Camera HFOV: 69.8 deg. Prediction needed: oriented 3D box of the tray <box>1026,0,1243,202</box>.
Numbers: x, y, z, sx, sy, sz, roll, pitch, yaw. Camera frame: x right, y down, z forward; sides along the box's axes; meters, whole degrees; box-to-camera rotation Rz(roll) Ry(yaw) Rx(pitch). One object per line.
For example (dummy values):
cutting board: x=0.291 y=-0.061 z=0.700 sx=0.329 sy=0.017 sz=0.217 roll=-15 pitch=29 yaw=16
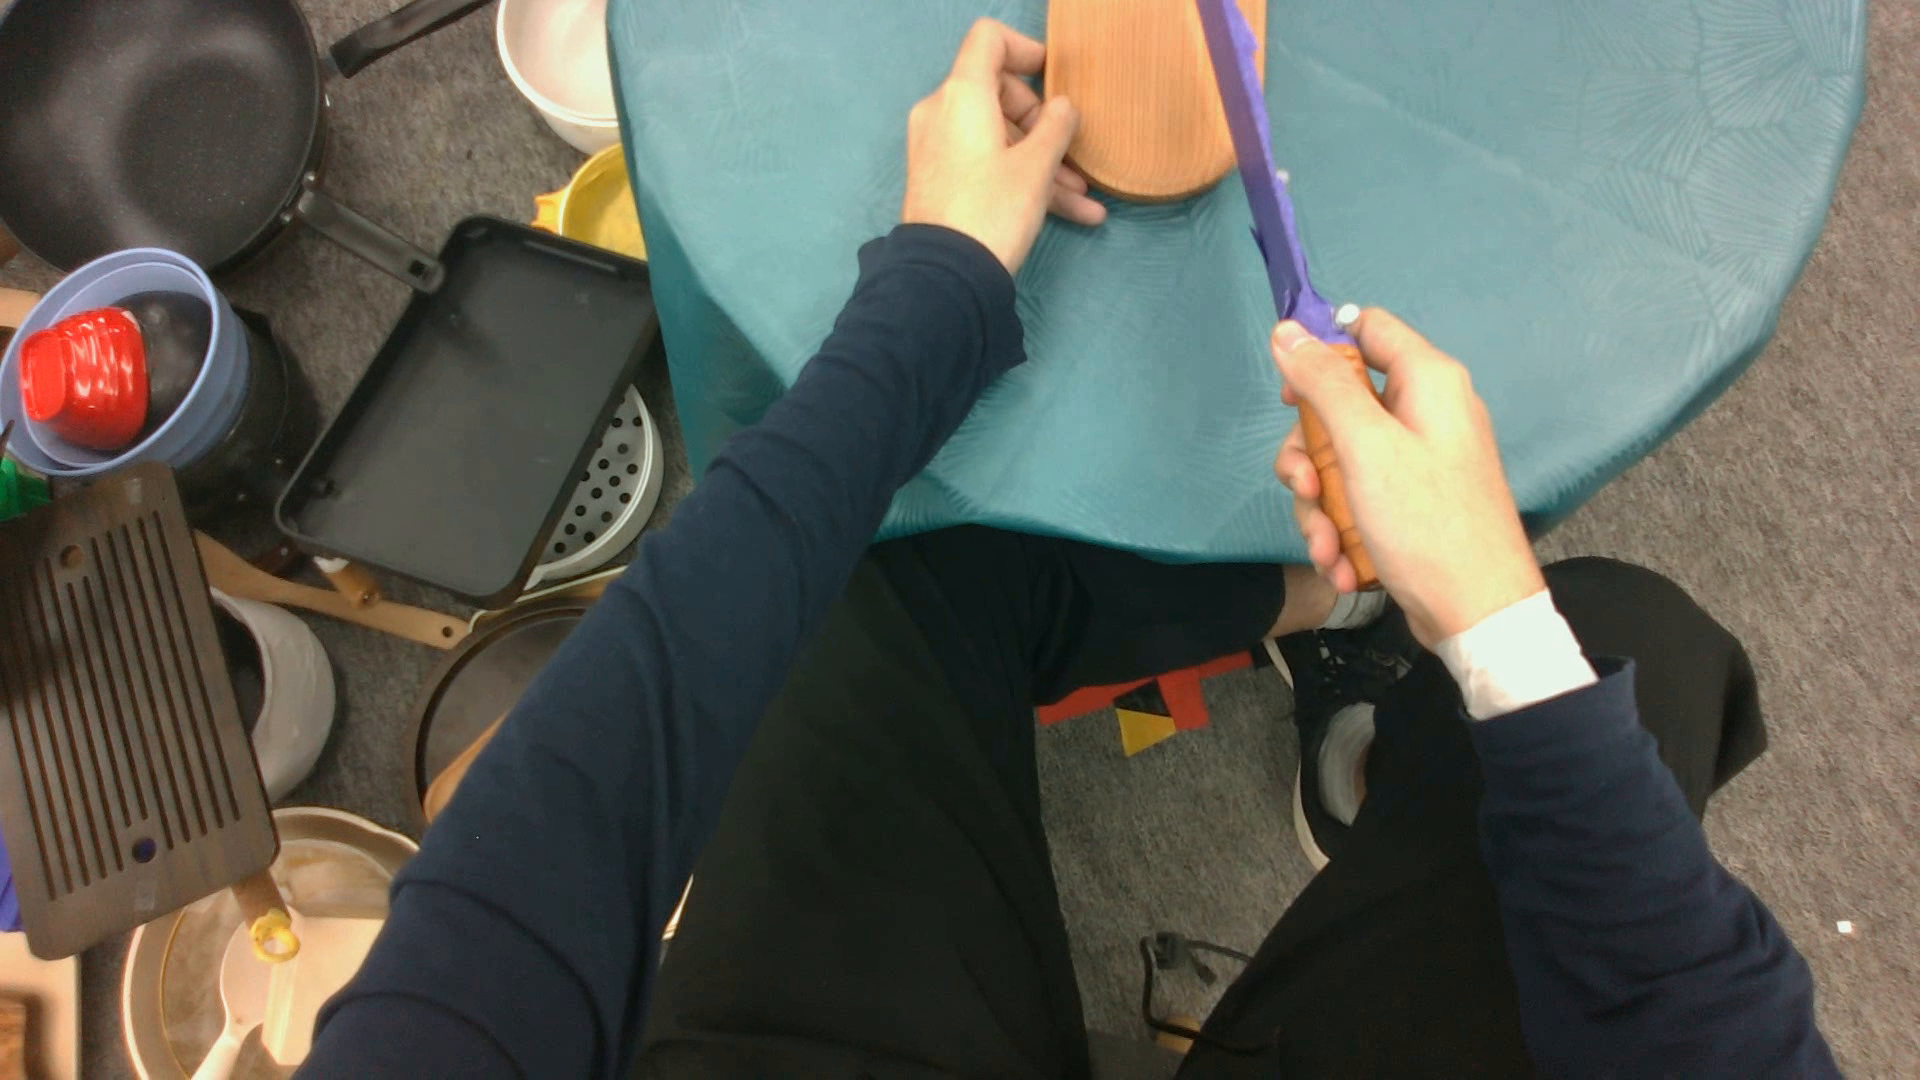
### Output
tray: x=0.083 y=-0.269 z=0.654 sx=0.102 sy=0.020 sz=0.231 roll=2 pitch=81 yaw=-1

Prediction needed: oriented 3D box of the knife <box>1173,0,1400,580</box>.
knife: x=0.124 y=-0.132 z=0.567 sx=0.032 sy=0.104 sz=0.316 roll=-13 pitch=76 yaw=9
